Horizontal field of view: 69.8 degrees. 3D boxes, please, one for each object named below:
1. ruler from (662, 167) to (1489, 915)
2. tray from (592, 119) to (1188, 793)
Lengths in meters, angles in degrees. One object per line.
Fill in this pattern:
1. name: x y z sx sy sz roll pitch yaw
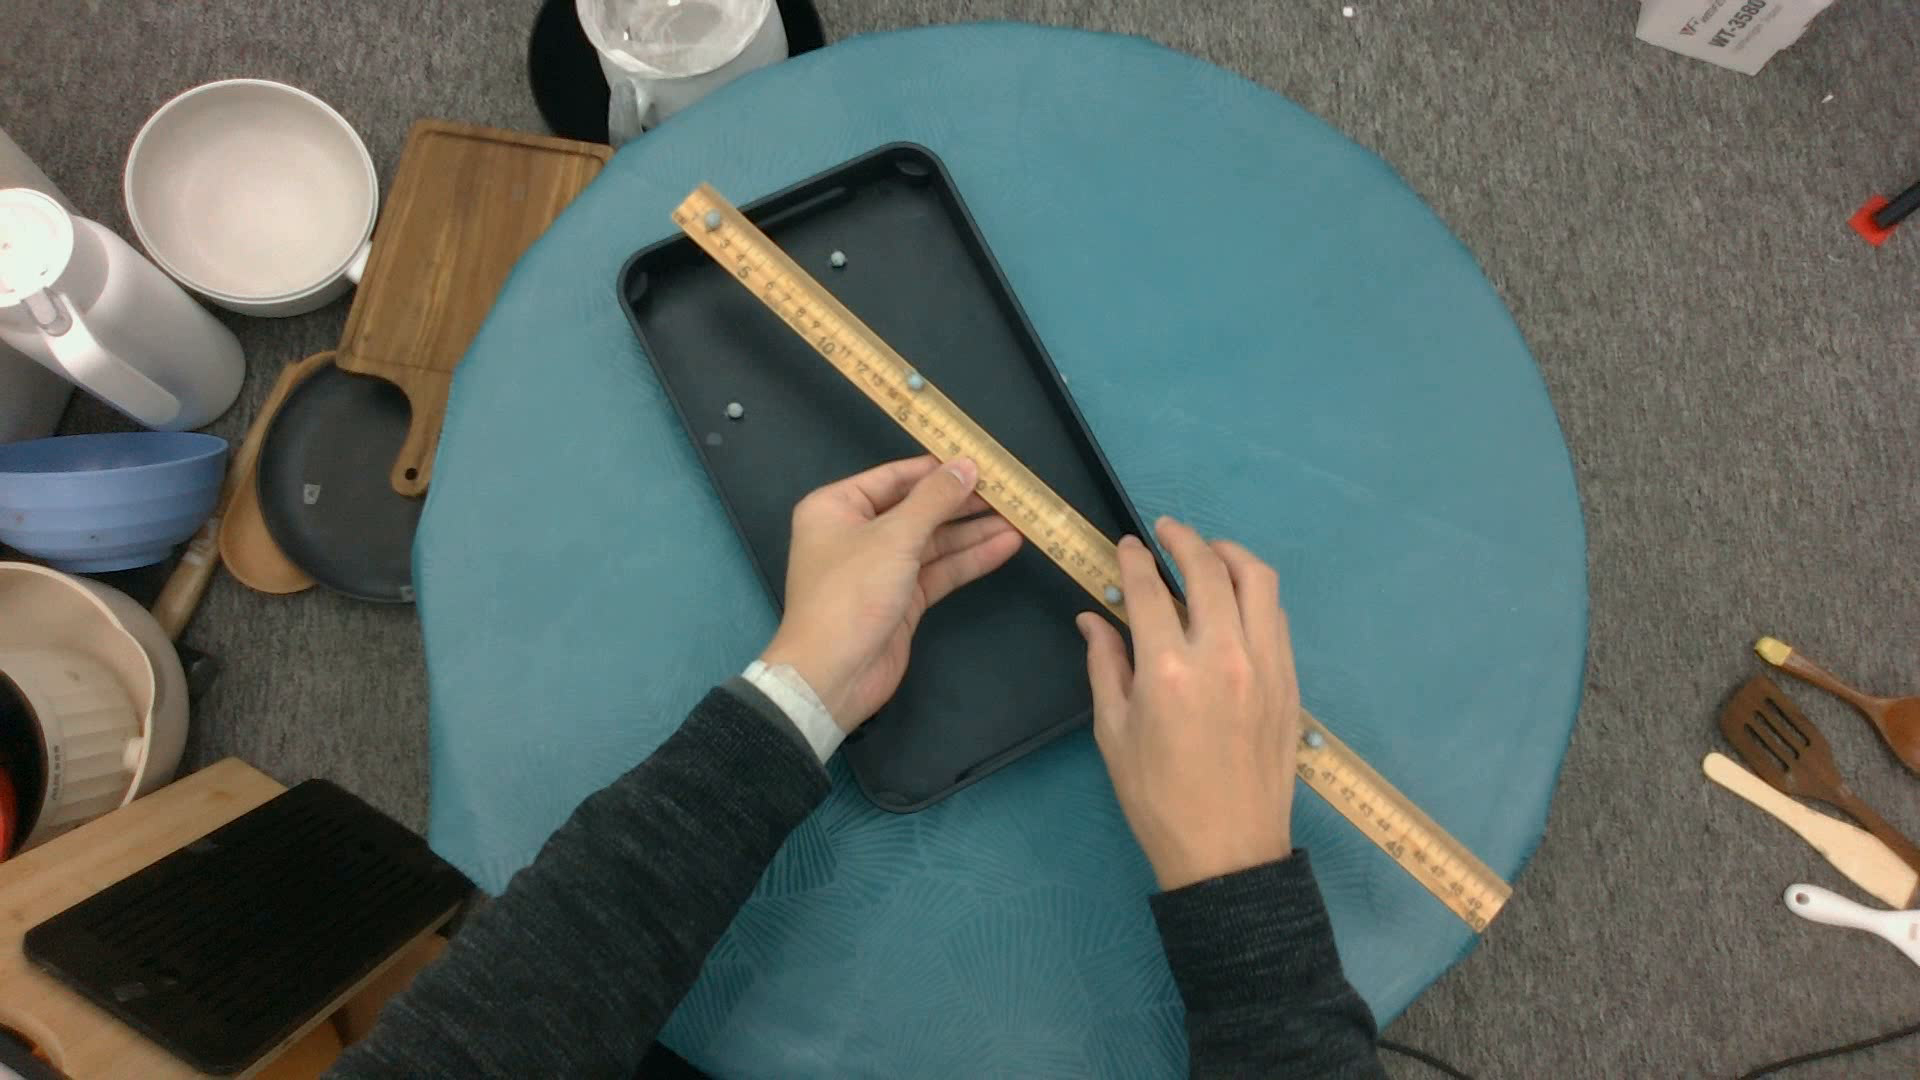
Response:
1. ruler: 0.045 -0.007 0.643 0.500 0.006 0.027 42 85 7
2. tray: -0.038 -0.048 0.698 0.184 0.037 0.318 -28 79 -10
